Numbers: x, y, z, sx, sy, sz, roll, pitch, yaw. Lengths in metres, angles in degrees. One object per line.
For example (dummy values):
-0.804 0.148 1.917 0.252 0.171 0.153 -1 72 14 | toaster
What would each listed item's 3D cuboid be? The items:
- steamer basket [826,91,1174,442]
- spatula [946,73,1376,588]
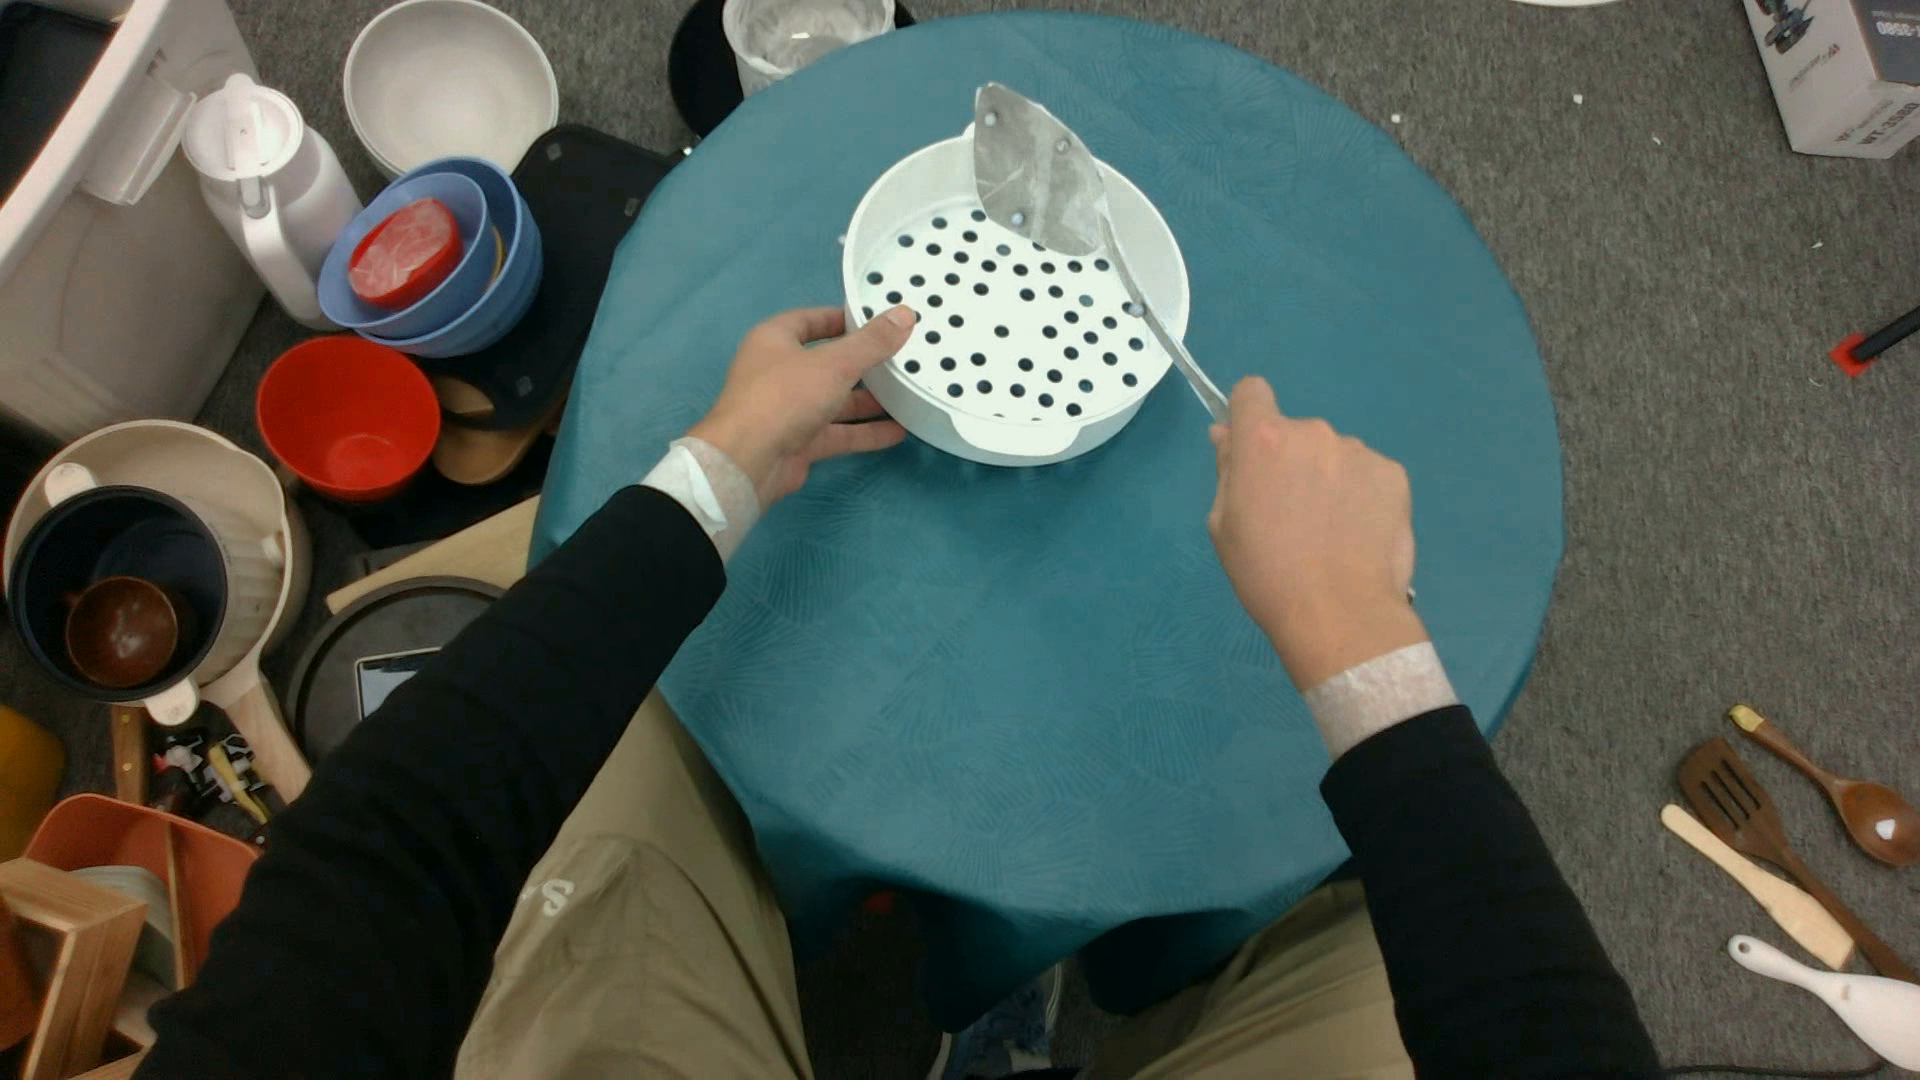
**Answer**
0.021 -0.154 0.812 0.202 0.069 0.231 6 67 -7 | steamer basket
0.094 -0.112 0.719 0.045 0.098 0.365 -21 59 -17 | spatula
